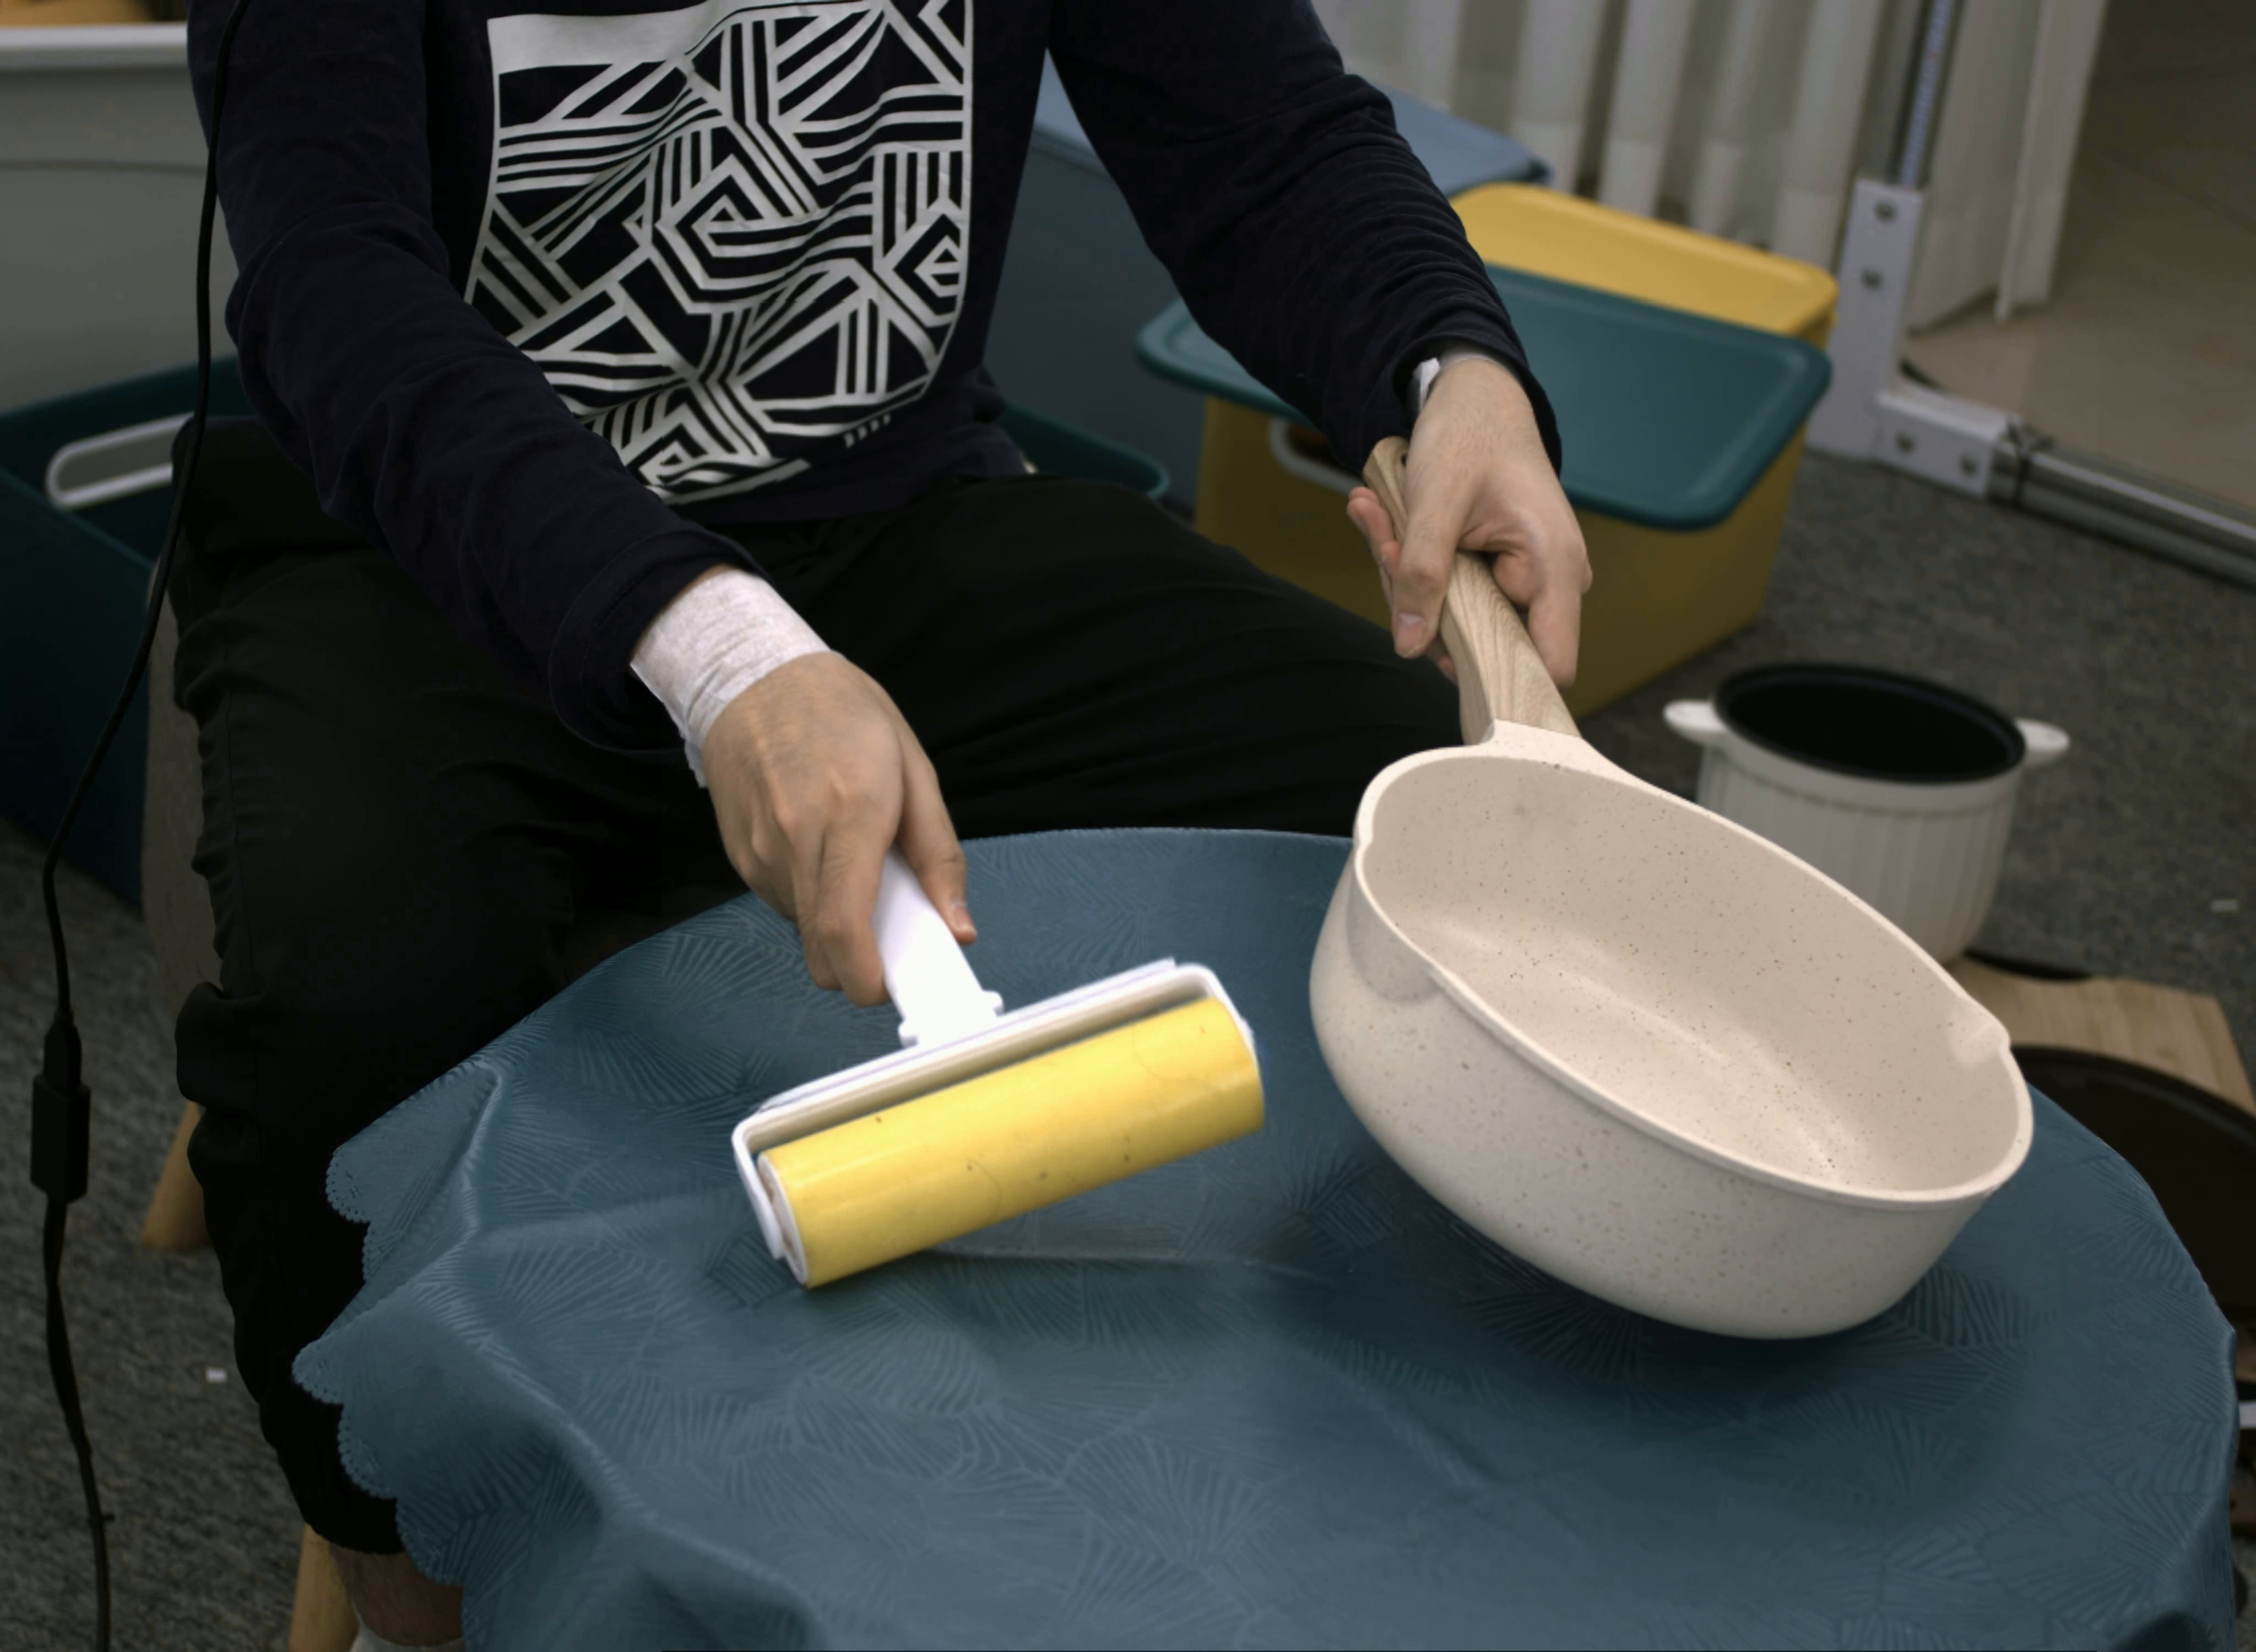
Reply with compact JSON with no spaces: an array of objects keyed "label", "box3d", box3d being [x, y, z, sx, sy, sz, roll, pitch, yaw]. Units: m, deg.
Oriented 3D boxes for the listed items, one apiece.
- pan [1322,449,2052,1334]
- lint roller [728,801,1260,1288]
[{"label":"pan","box3d":[0.152,0.020,1.859,0.261,0.102,0.439,9,30,-27]},{"label":"lint roller","box3d":[-0.068,0.053,1.778,0.173,0.051,0.194,-18,55,-14]}]
